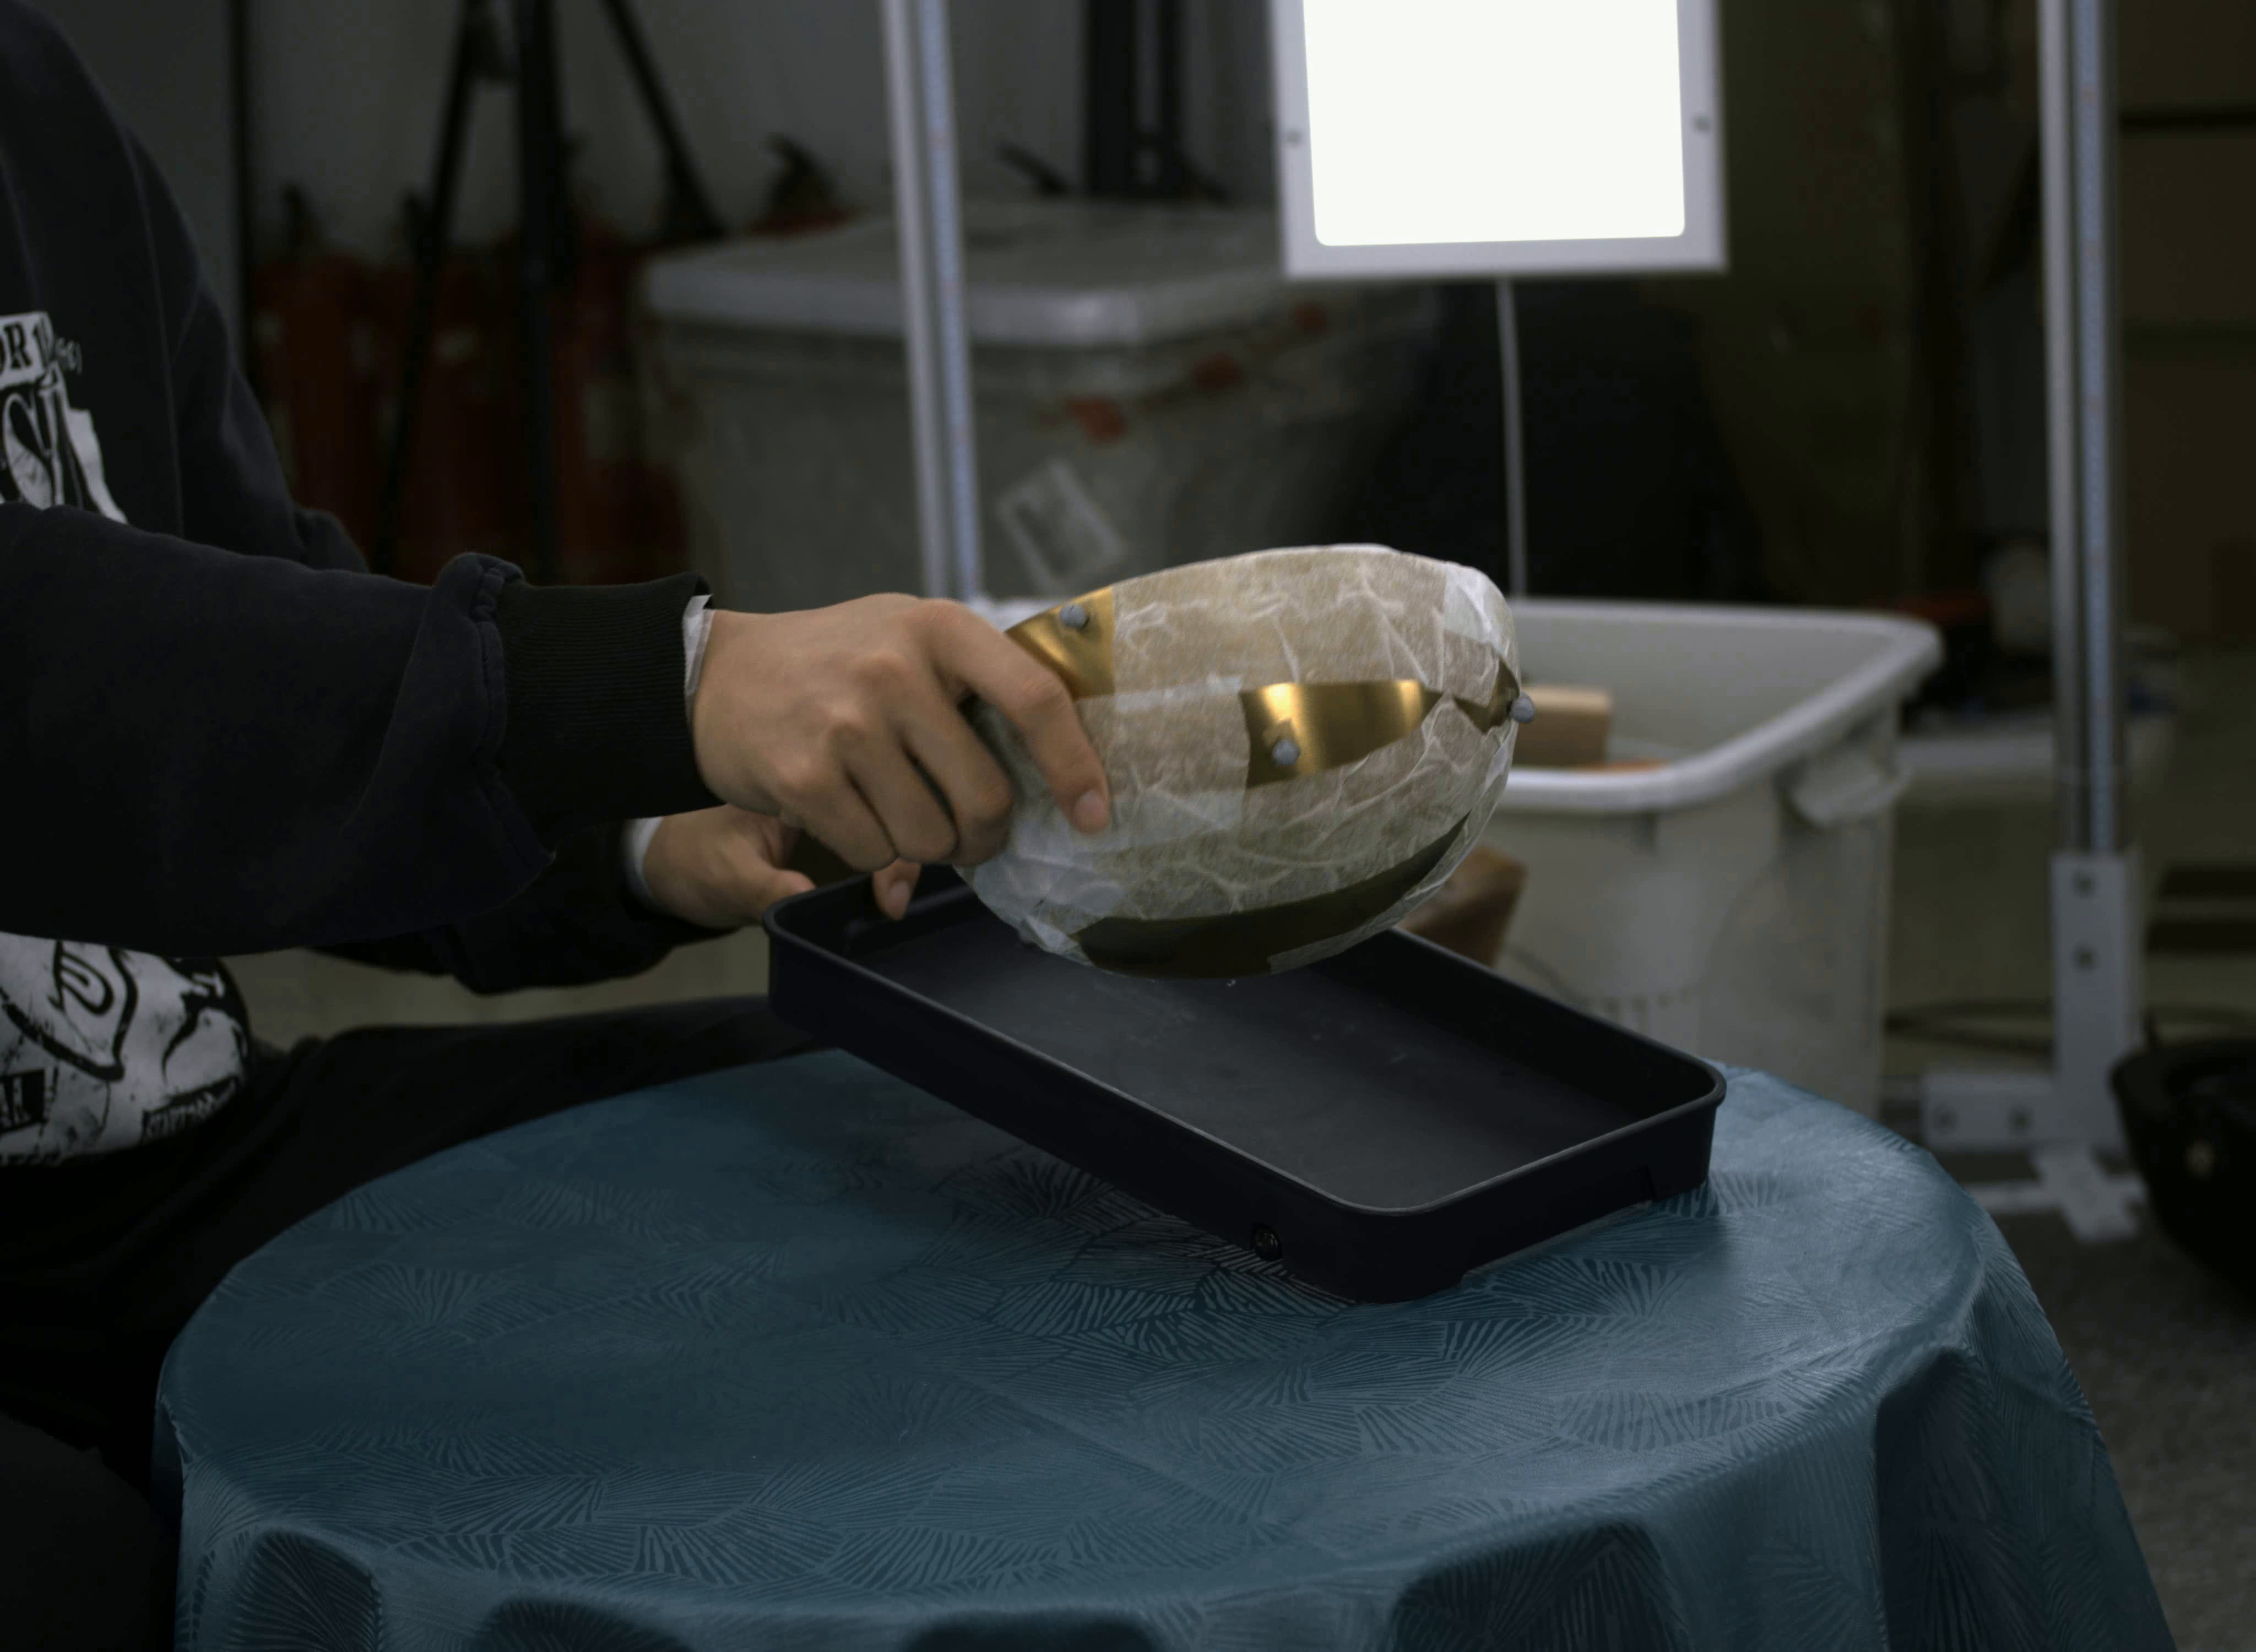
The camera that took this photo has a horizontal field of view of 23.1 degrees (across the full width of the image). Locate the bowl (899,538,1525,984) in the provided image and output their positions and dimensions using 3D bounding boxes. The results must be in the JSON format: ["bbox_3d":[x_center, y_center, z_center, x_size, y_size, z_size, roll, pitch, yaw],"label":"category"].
[{"bbox_3d":[0.035,-0.005,1.757,0.213,0.095,0.215,-10,-22,-5],"label":"bowl"}]

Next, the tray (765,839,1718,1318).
[{"bbox_3d":[0.034,0.075,1.905,0.179,0.037,0.324,-15,29,-39],"label":"tray"}]
